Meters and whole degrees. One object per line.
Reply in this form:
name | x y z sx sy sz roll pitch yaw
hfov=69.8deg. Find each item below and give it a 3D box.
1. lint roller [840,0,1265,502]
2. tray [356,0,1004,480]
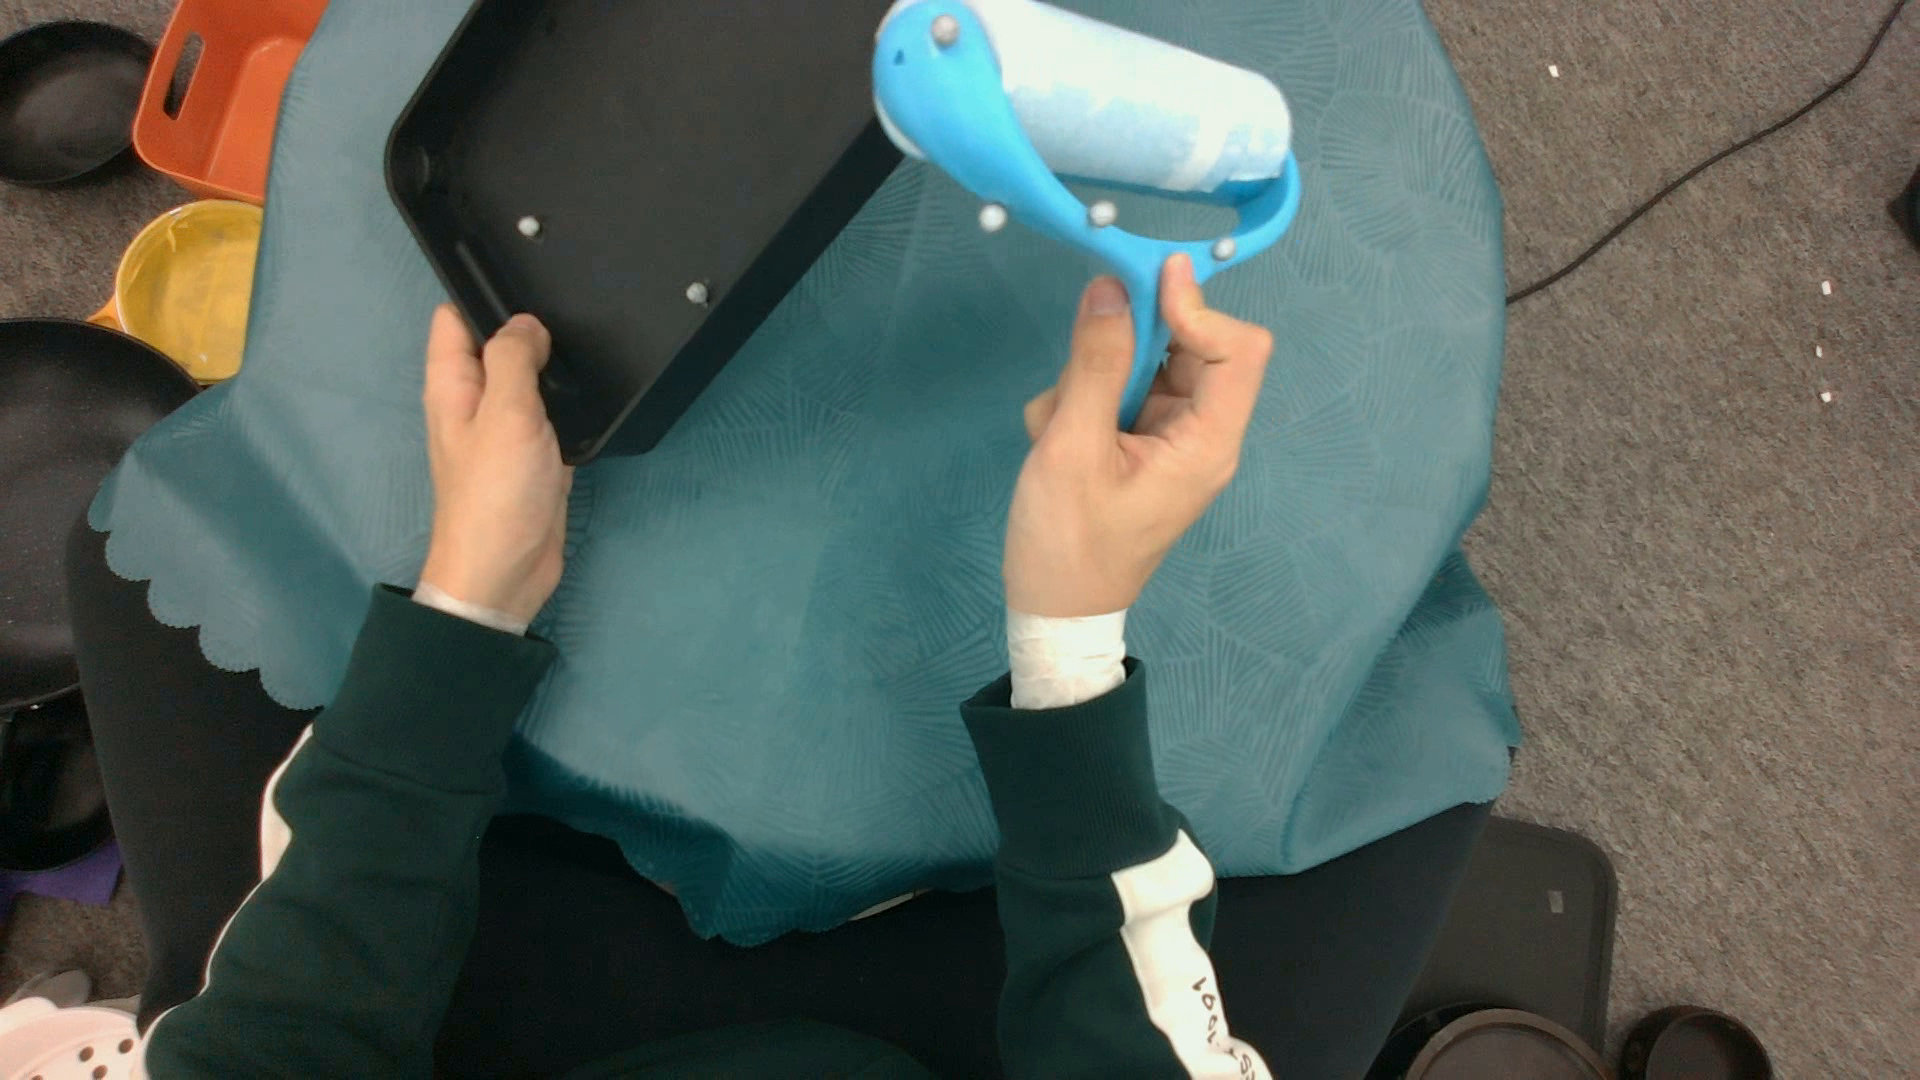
lint roller | 0.043 -0.101 0.507 0.068 0.230 0.180 6 105 35
tray | -0.111 -0.187 0.531 0.316 0.037 0.184 -45 73 25
